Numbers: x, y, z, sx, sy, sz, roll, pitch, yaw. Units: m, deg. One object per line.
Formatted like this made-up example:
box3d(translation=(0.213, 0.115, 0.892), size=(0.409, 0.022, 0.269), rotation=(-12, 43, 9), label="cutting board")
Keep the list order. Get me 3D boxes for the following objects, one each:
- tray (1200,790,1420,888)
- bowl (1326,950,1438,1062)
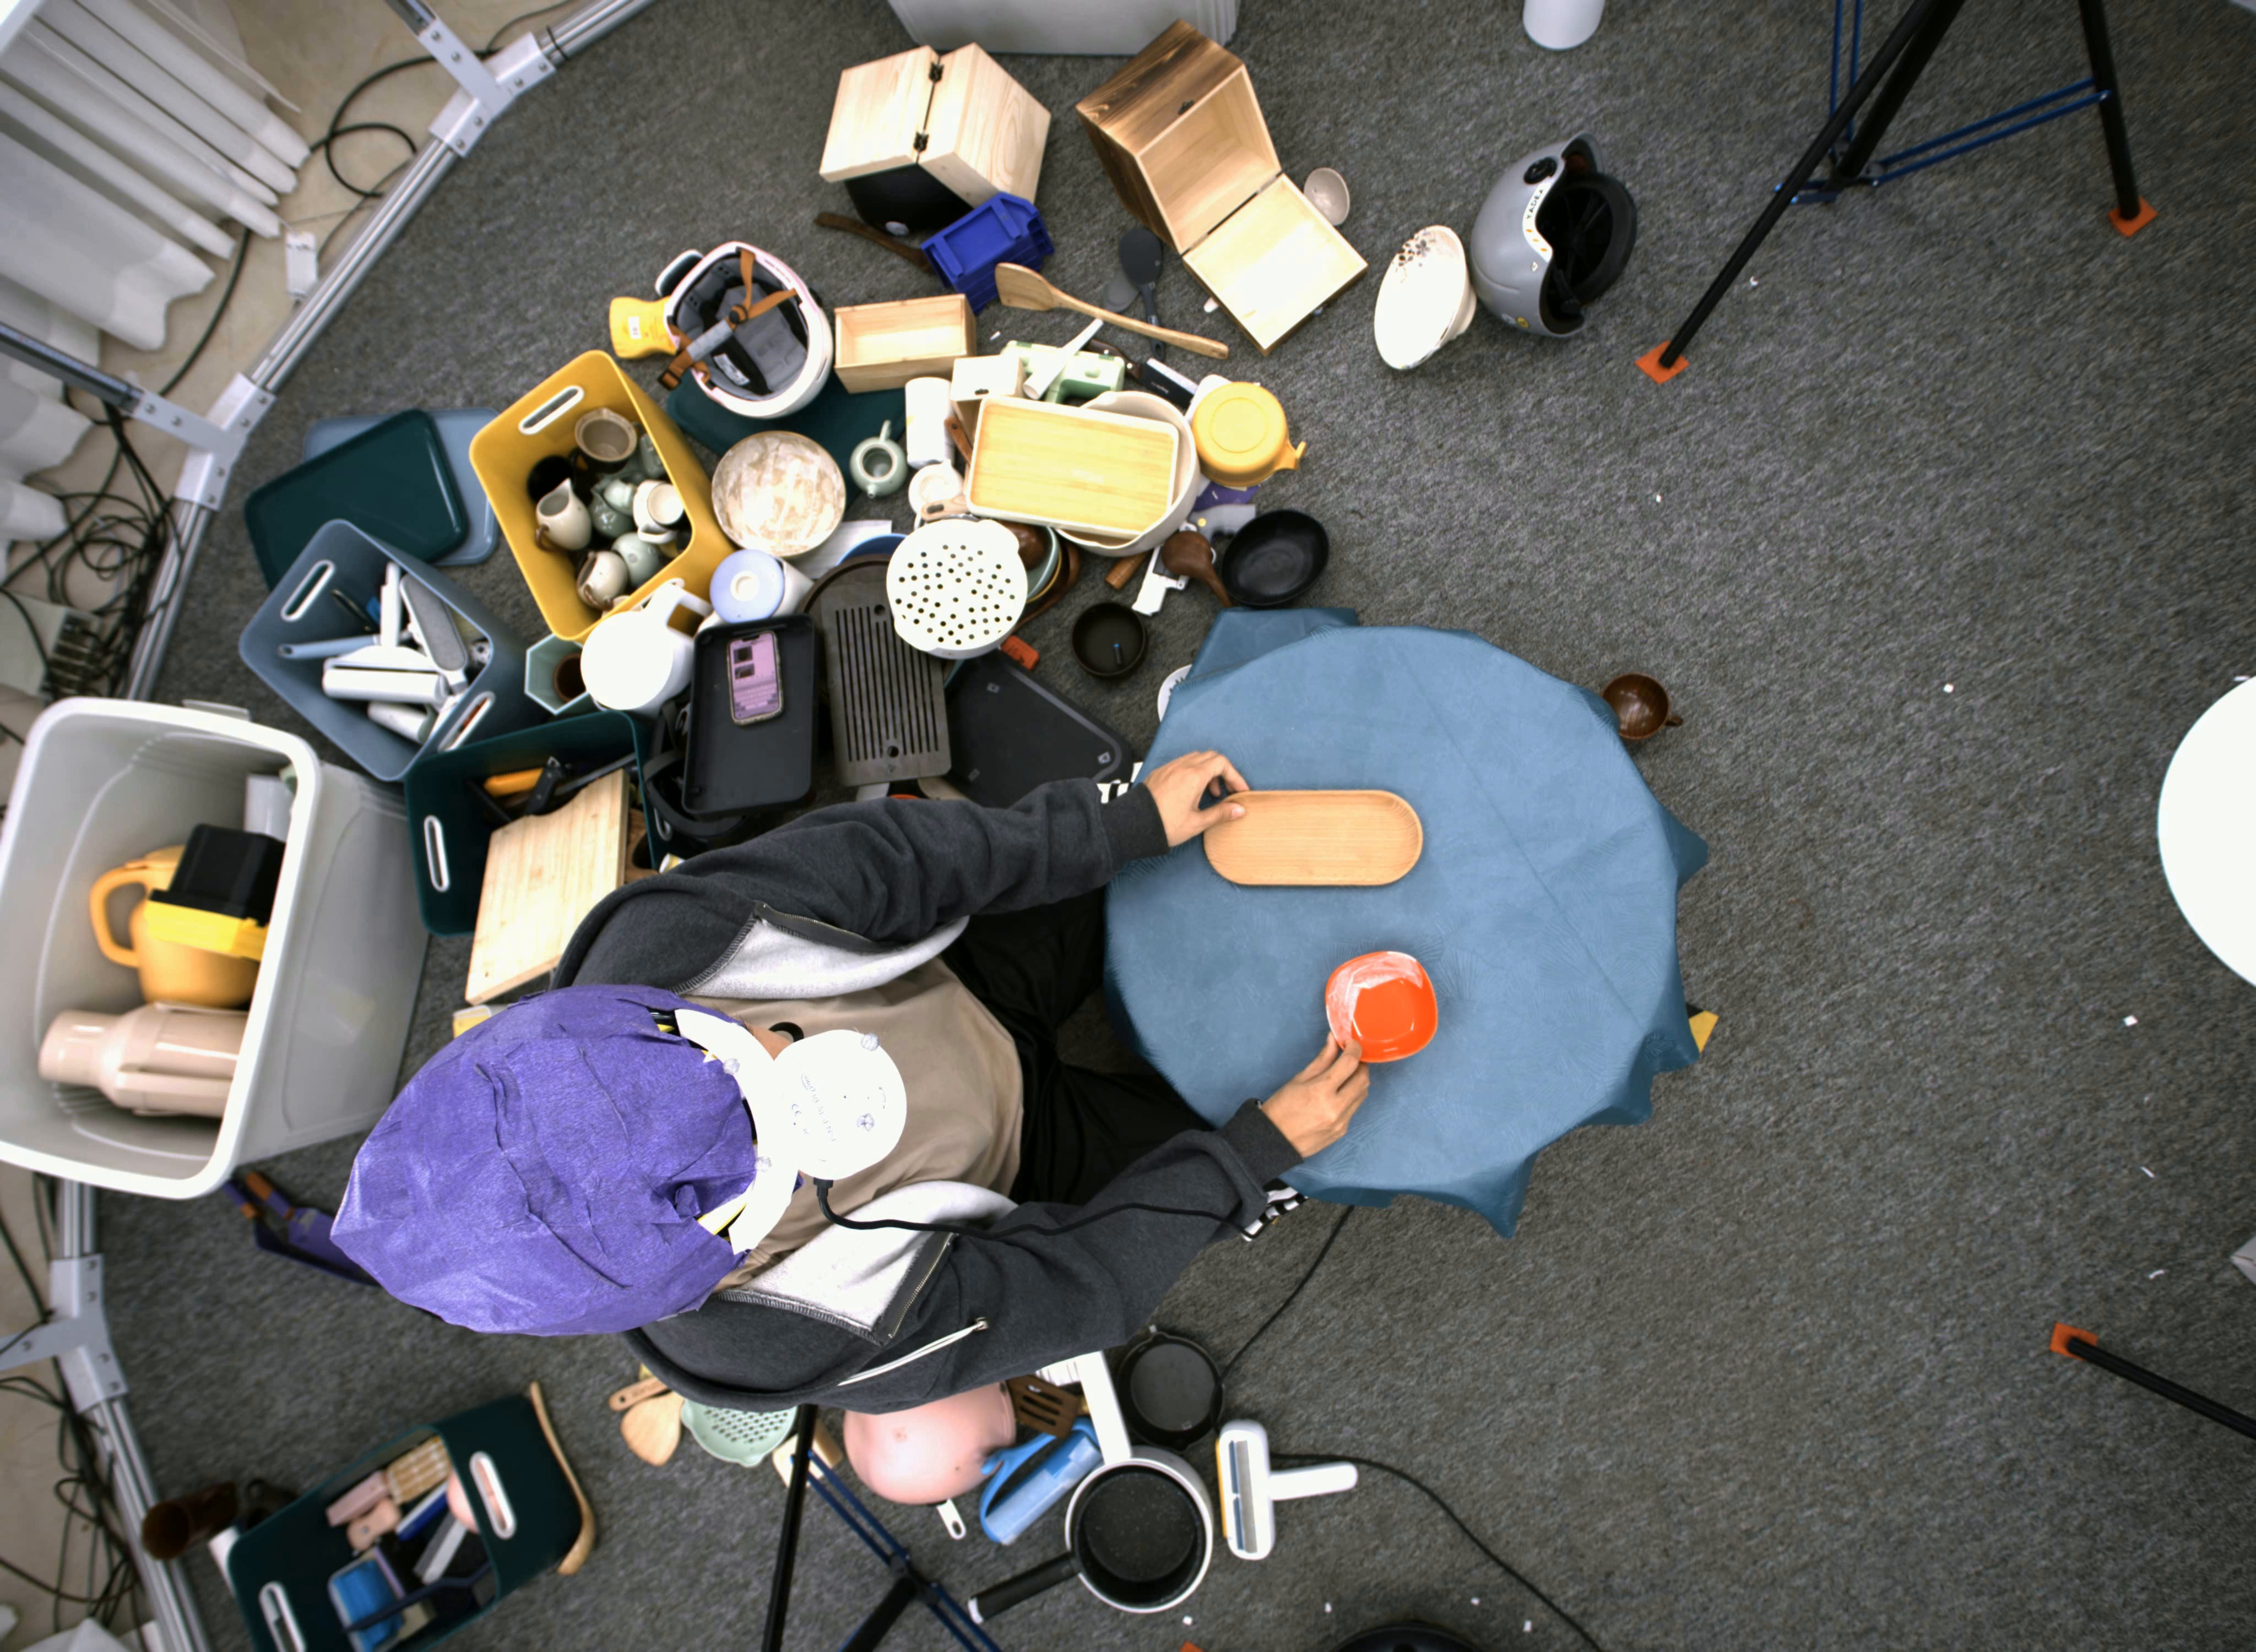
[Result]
box3d(translation=(0.192, 0.013, 1.467), size=(0.232, 0.020, 0.101), rotation=(-2, 88, 11), label="tray")
box3d(translation=(0.260, 0.186, 1.419), size=(0.119, 0.051, 0.117), rotation=(-2, 79, 10), label="bowl")
